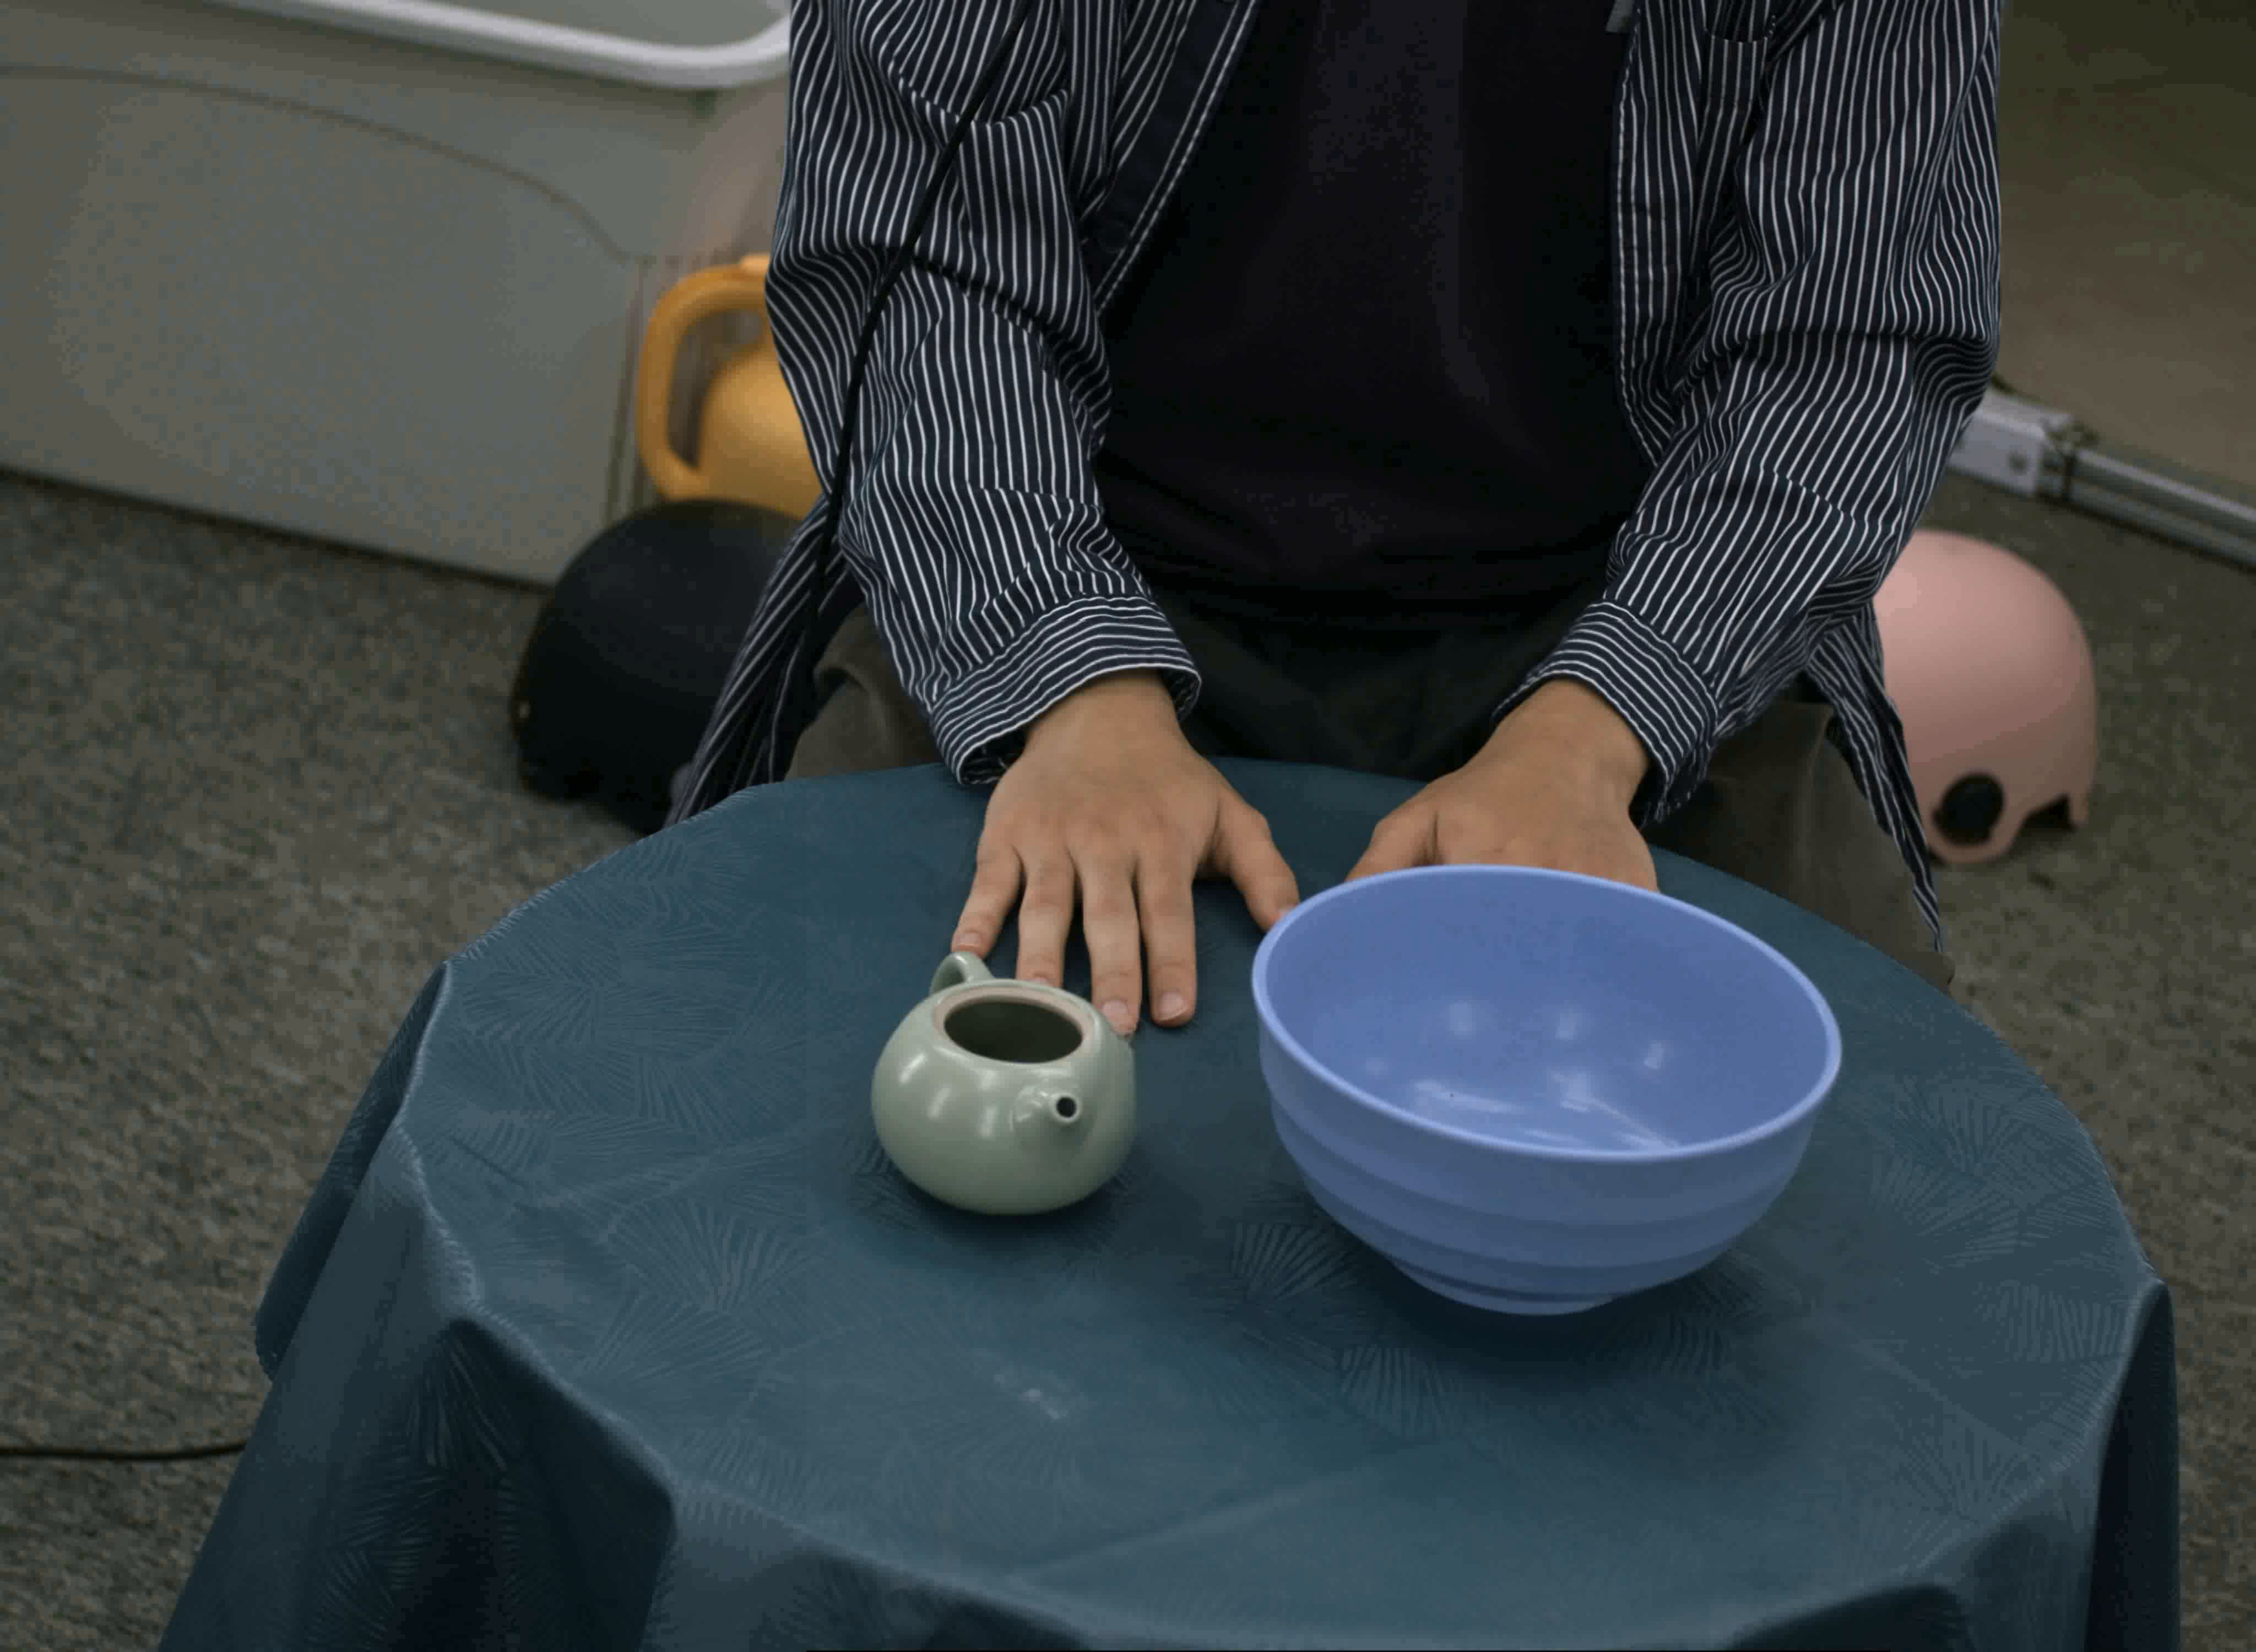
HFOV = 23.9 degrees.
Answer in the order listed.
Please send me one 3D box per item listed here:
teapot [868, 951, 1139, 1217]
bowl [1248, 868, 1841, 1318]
[{"bbox_3d":[-0.044,0.088,1.795,0.091,0.061,0.129,-4,27,-15],"label":"teapot"},{"bbox_3d":[0.133,0.100,1.772,0.196,0.095,0.197,4,27,-2],"label":"bowl"}]
